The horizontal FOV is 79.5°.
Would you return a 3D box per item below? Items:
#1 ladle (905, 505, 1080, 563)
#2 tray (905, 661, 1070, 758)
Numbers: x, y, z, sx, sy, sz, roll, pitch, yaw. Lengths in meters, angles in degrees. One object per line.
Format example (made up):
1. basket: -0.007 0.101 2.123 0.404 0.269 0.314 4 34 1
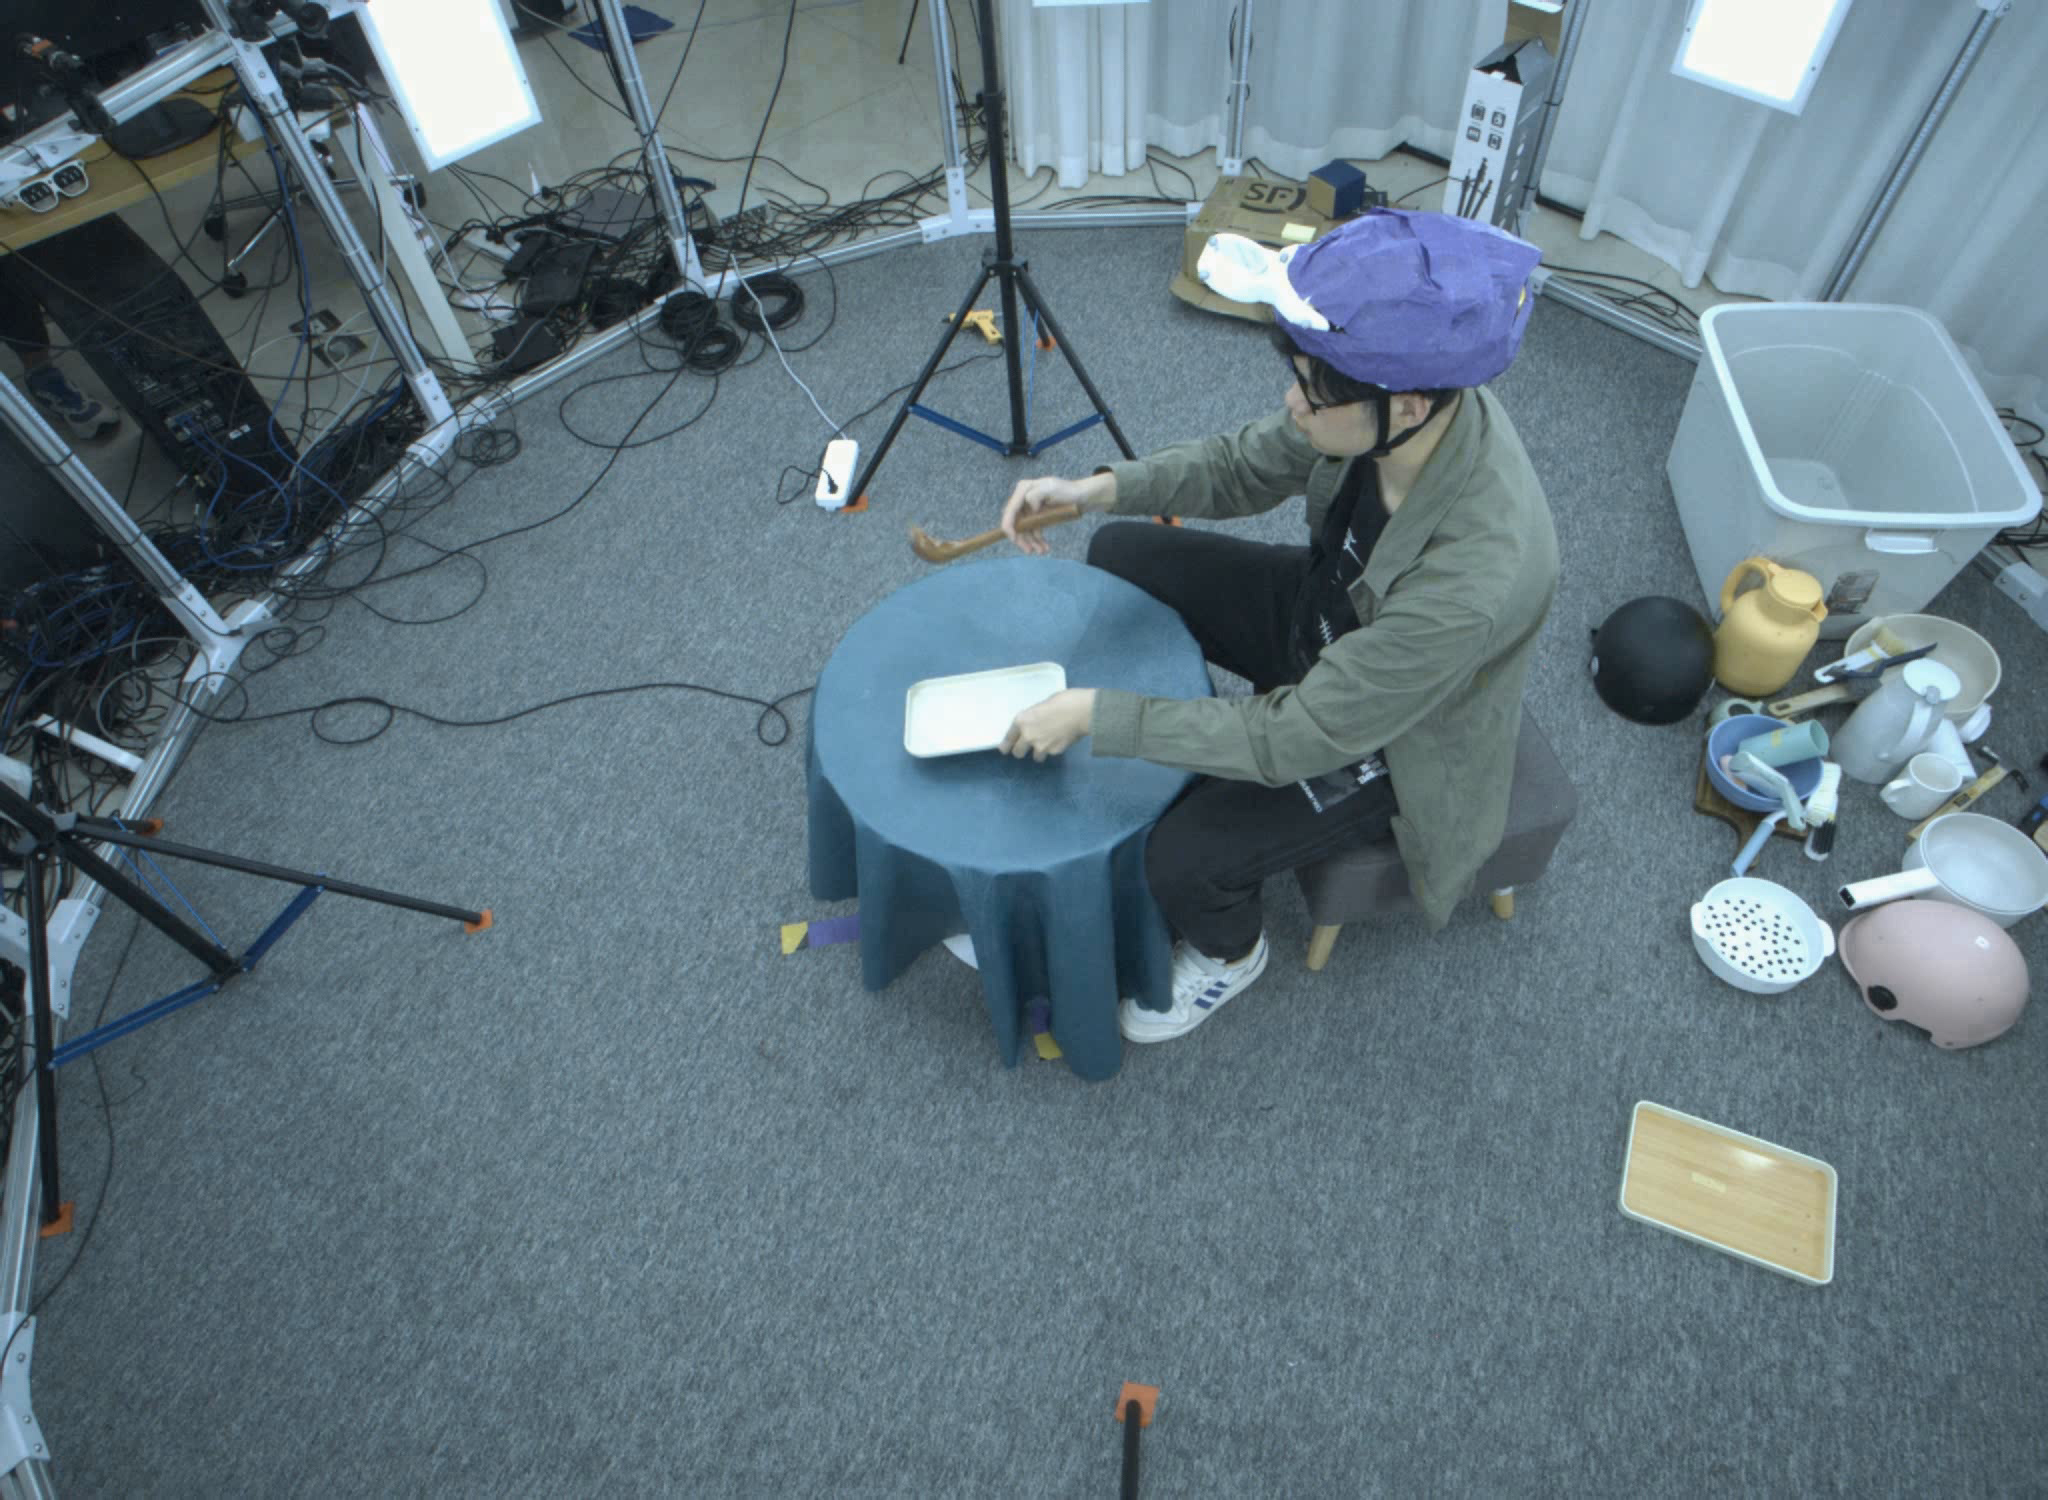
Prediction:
1. ladle: -0.048 -0.330 1.764 0.271 0.083 0.076 -15 68 21
2. tray: -0.055 -0.059 1.796 0.239 0.018 0.169 -8 42 3
